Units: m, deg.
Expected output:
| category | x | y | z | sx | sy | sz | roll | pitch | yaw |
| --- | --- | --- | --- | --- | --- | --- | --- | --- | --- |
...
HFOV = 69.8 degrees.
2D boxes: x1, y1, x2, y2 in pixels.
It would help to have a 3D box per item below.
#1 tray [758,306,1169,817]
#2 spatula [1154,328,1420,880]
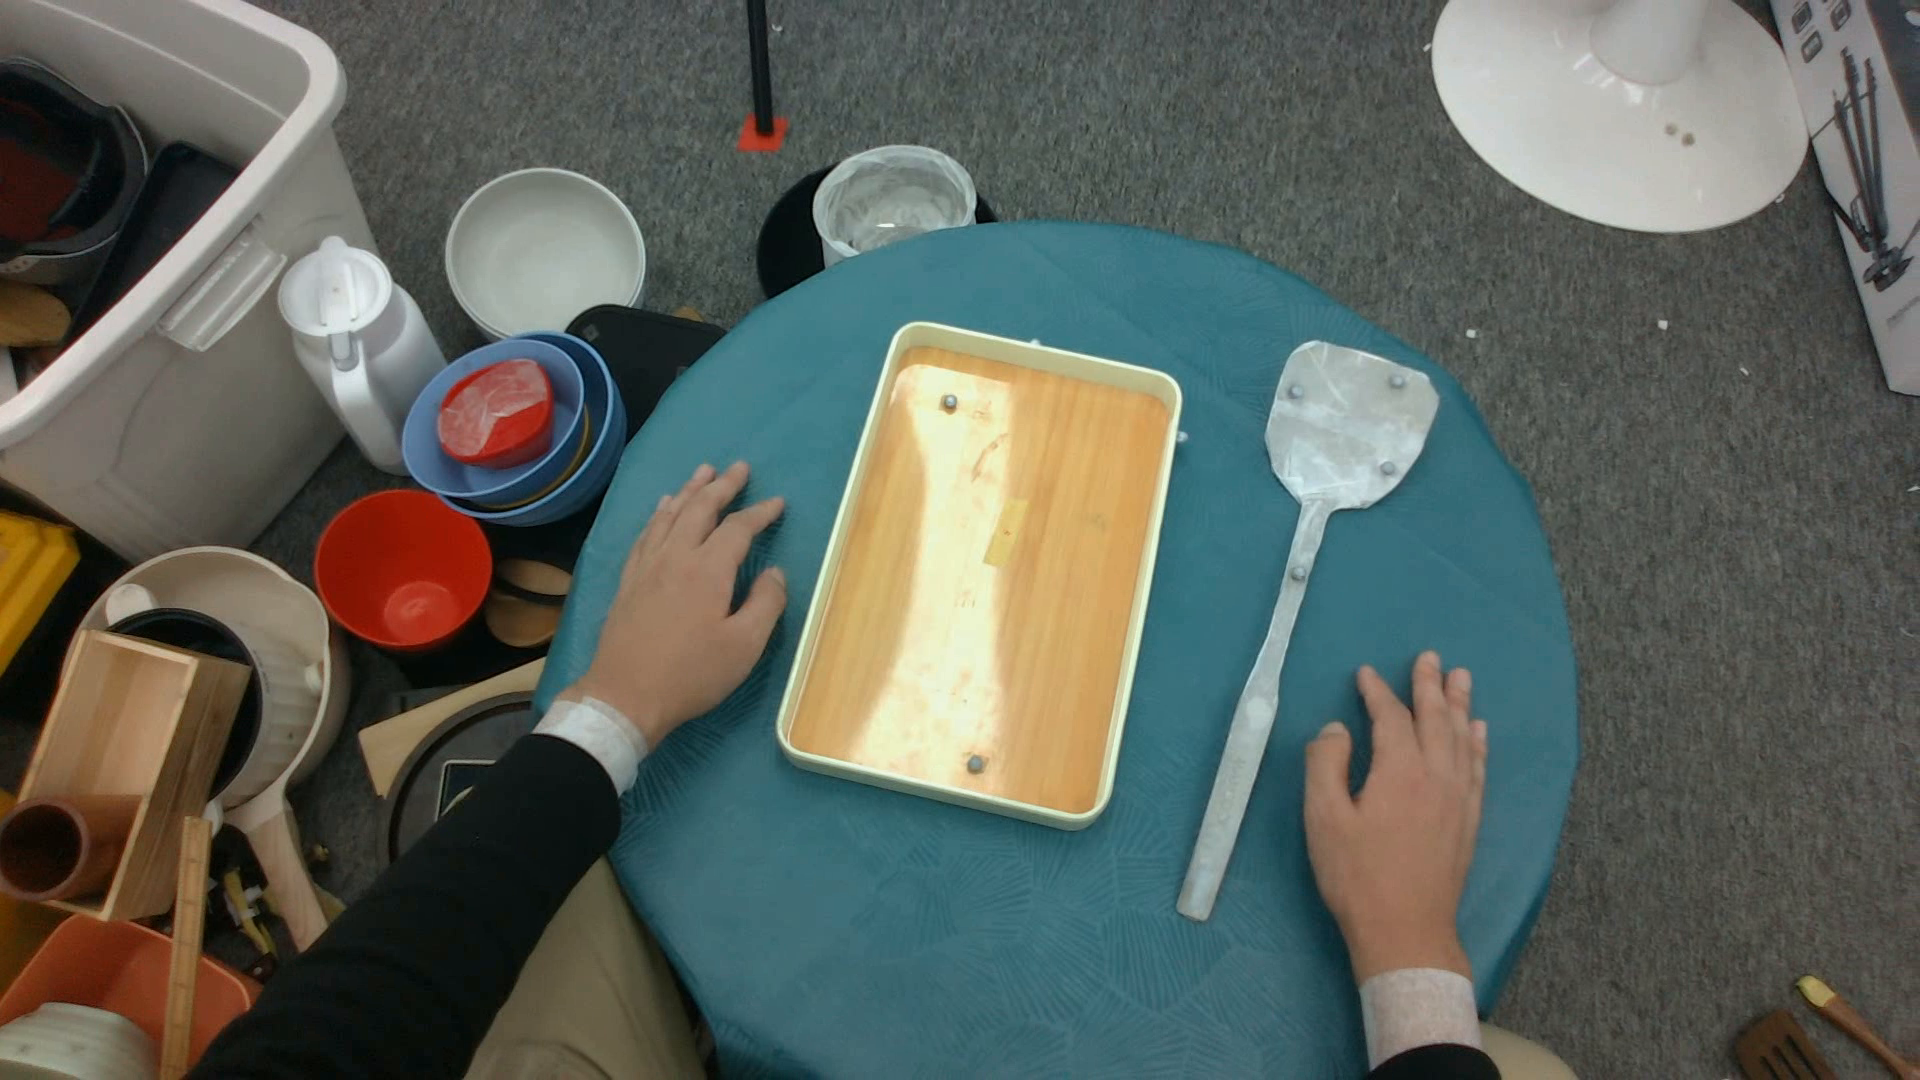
| category | x | y | z | sx | sy | sz | roll | pitch | yaw |
| --- | --- | --- | --- | --- | --- | --- | --- | --- | --- |
| tray | 0.010 | 0.002 | 0.824 | 0.191 | 0.027 | 0.301 | 13 | 63 | 3 |
| spatula | 0.184 | 0.031 | 0.816 | 0.098 | 0.044 | 0.366 | 21 | 64 | 6 |
